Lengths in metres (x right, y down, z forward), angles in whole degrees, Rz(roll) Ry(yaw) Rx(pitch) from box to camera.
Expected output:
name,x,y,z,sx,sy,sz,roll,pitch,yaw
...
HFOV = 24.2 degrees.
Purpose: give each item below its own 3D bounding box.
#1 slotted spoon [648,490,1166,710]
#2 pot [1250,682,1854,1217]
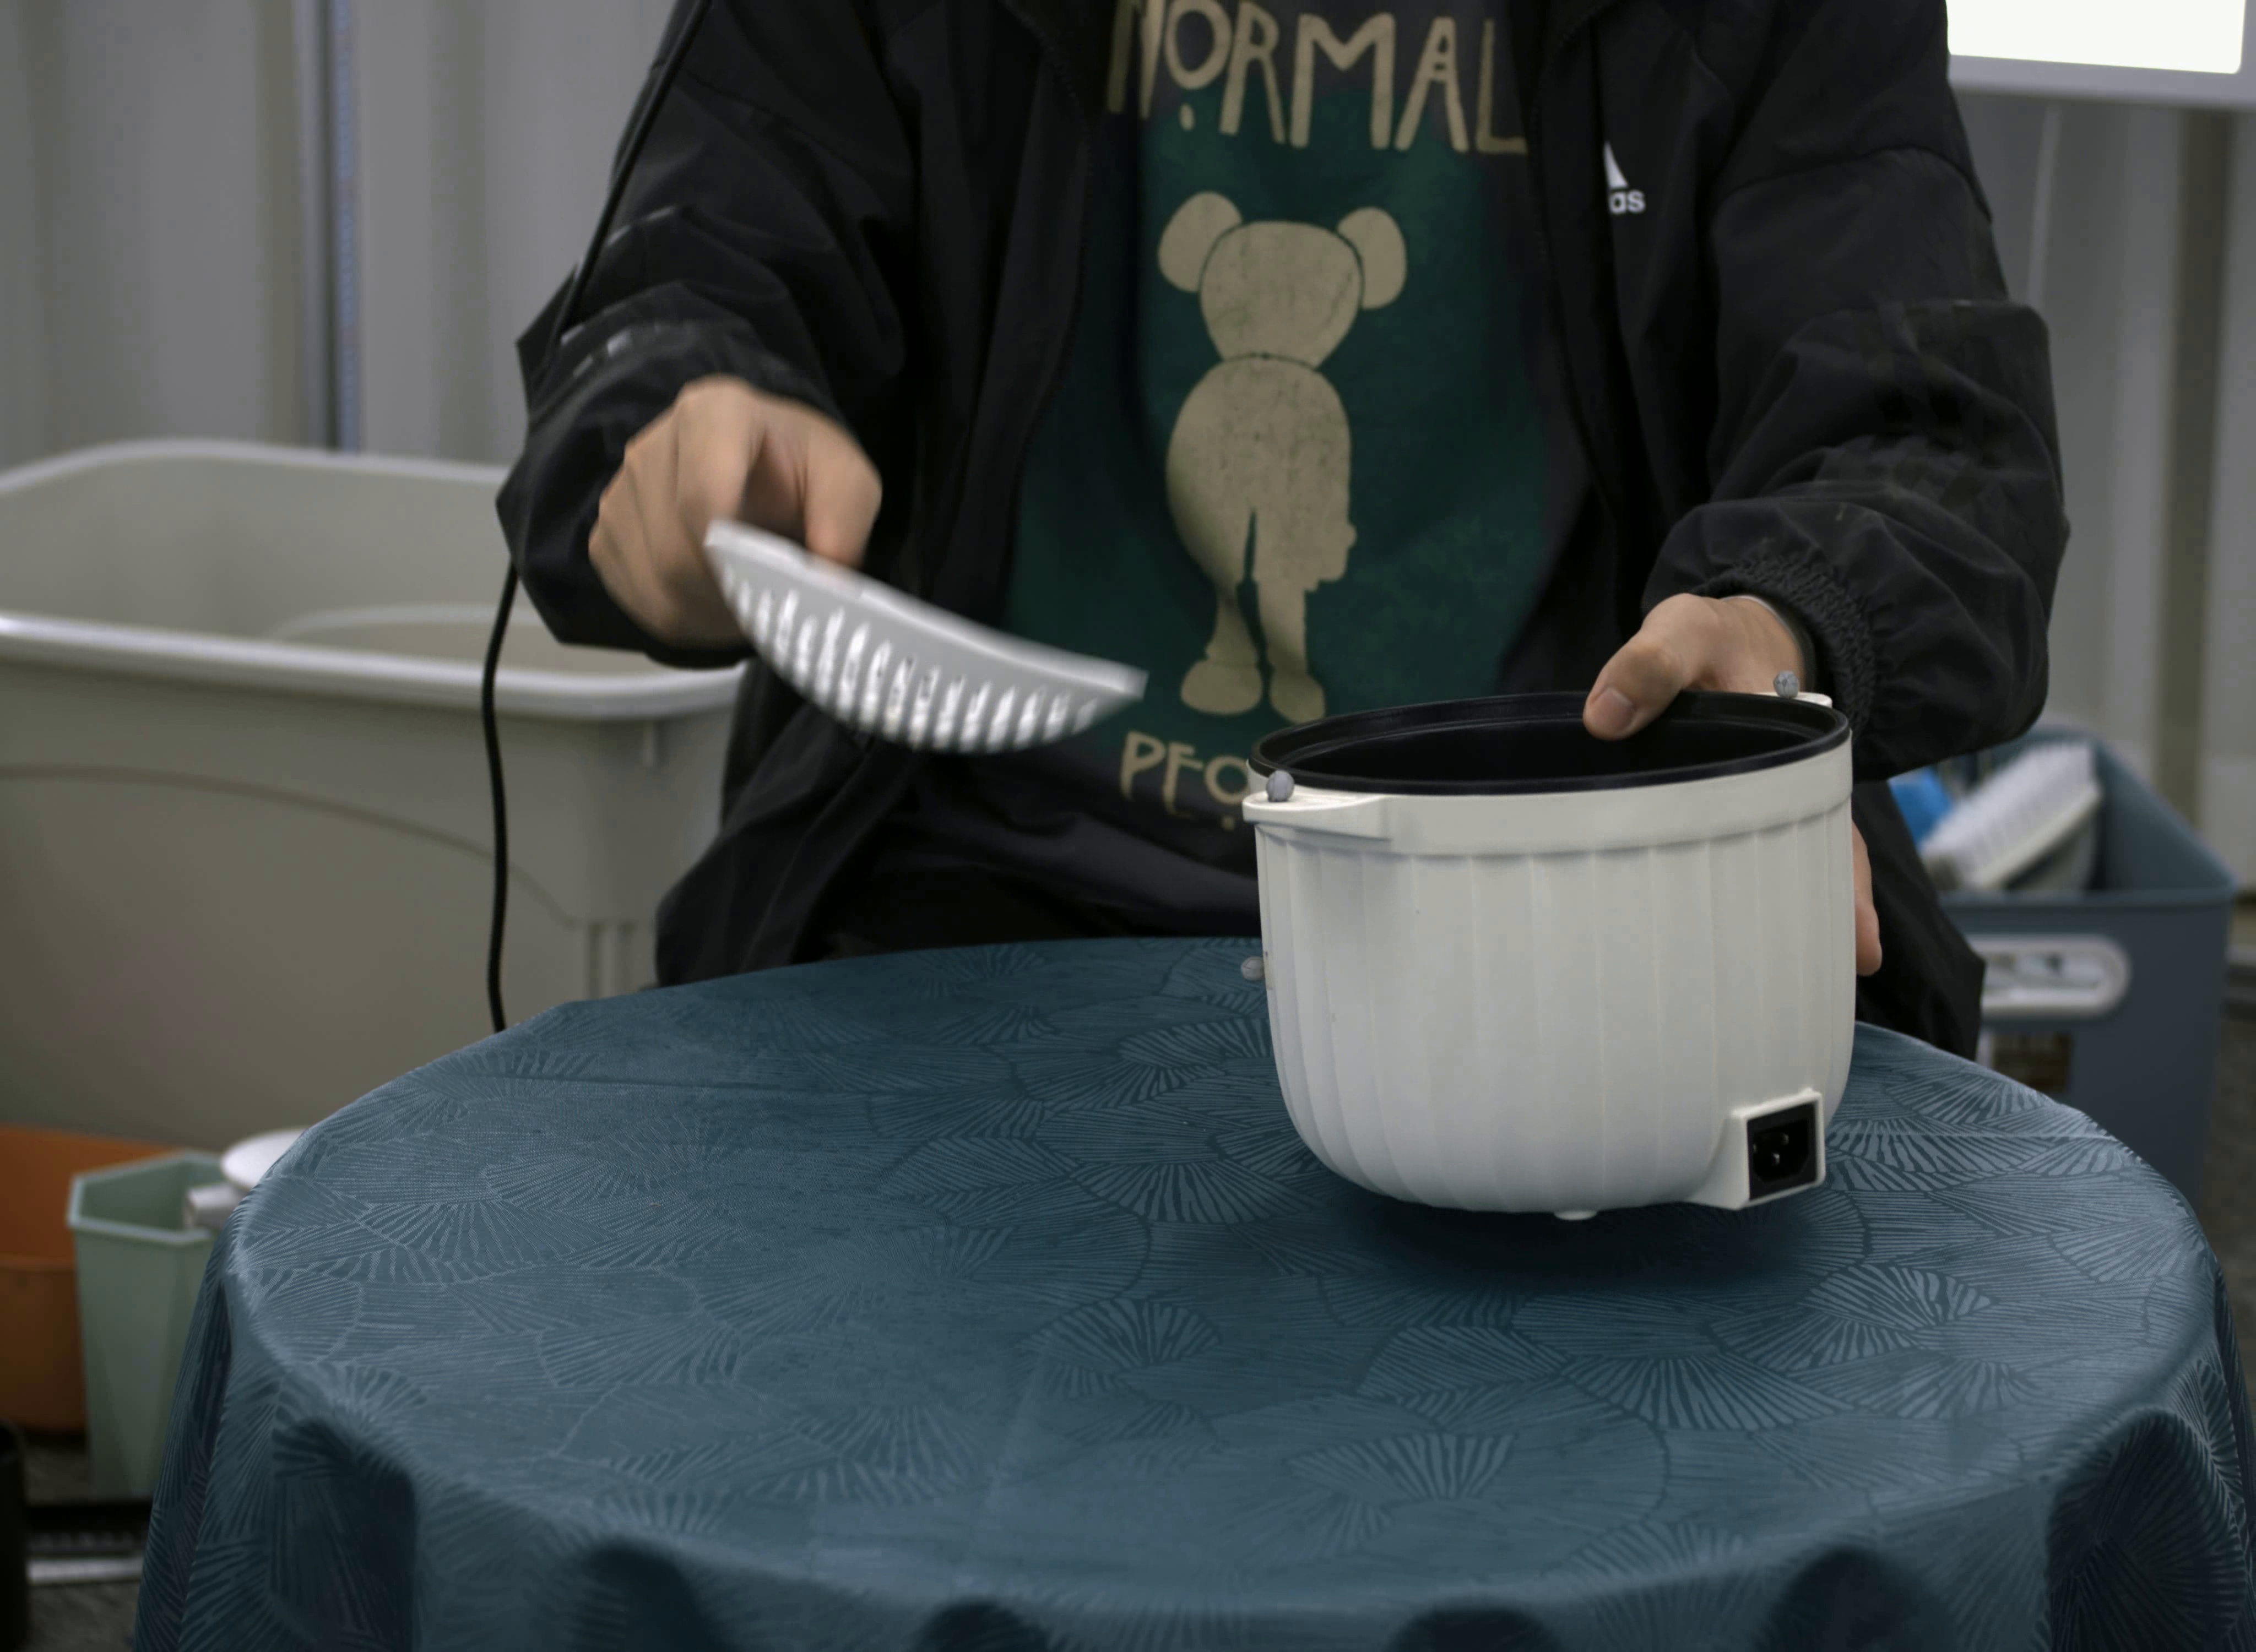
name,x,y,z,sx,sy,sz,roll,pitch,yaw
slotted spoon,-0.093,-0.075,1.625,0.137,0.050,0.345,18,4,-19
pot,0.125,0.036,1.597,0.242,0.143,0.188,-11,15,-43
